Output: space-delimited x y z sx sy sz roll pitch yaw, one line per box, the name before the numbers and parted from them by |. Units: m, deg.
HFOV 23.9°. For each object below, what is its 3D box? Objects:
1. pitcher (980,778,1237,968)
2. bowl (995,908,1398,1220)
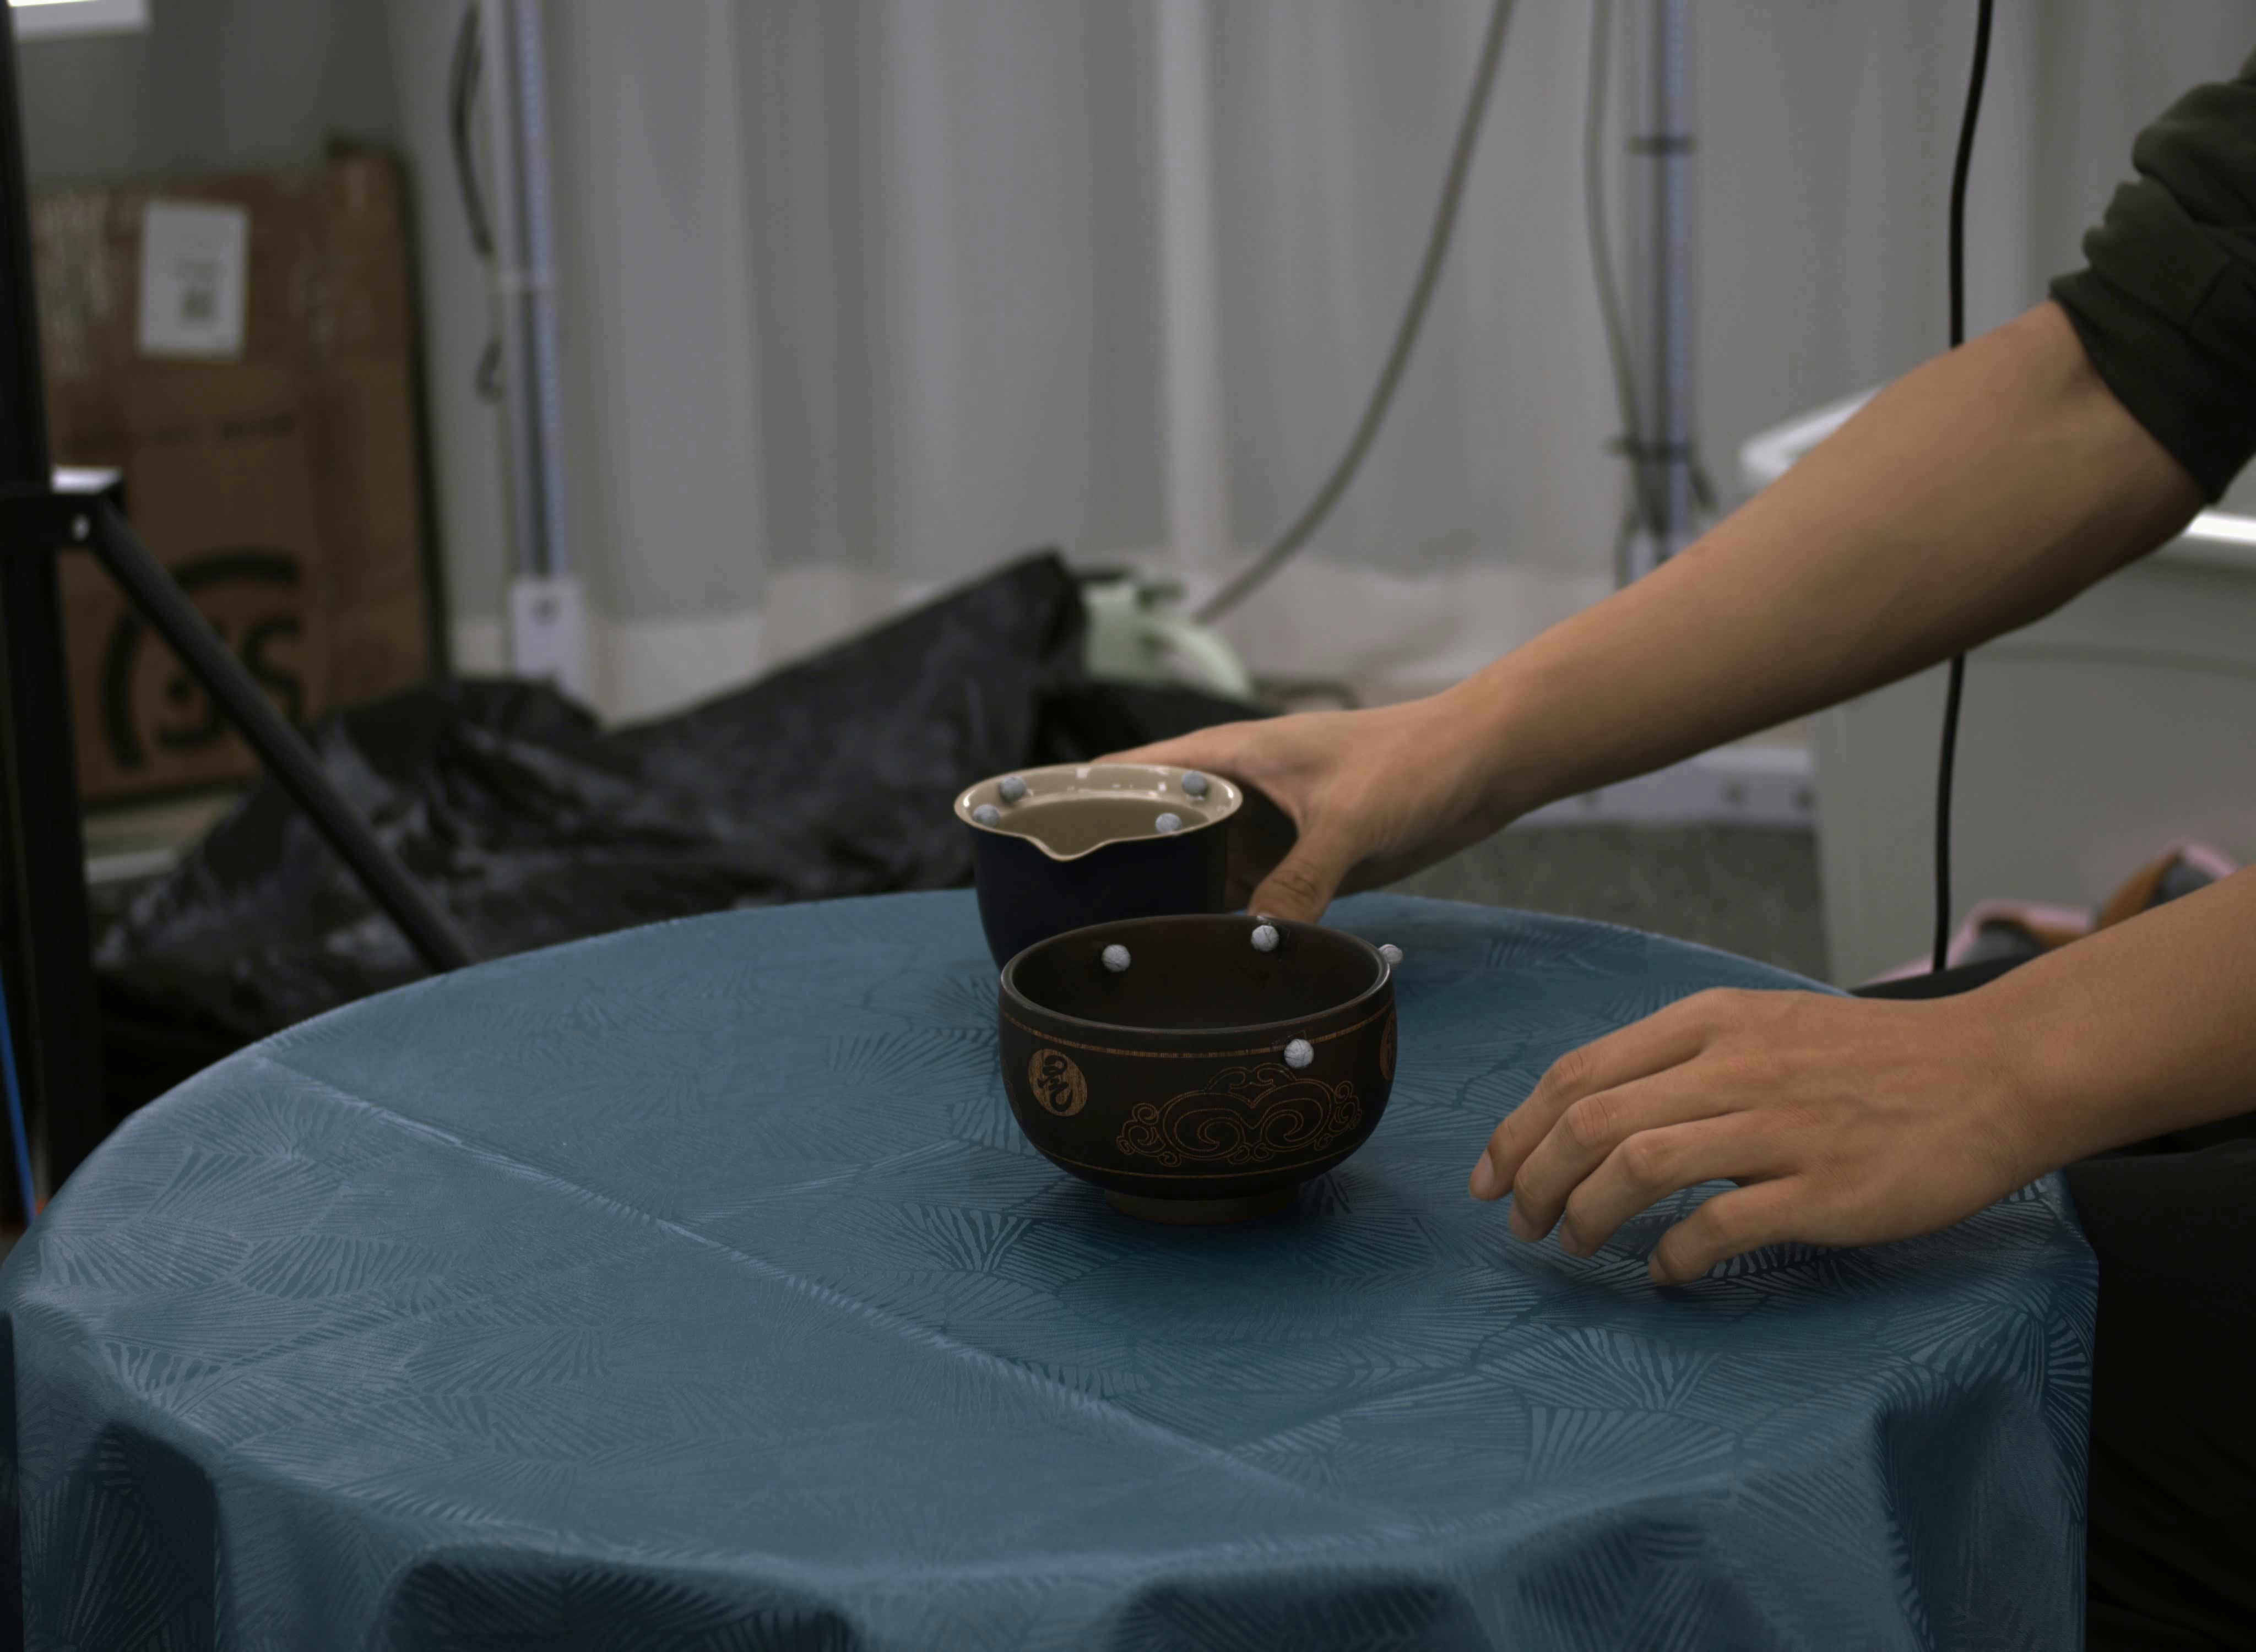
pitcher | -0.008 0.025 1.716 0.084 0.071 0.095 5 16 18
bowl | 0.021 0.073 1.549 0.117 0.070 0.118 -5 15 0
